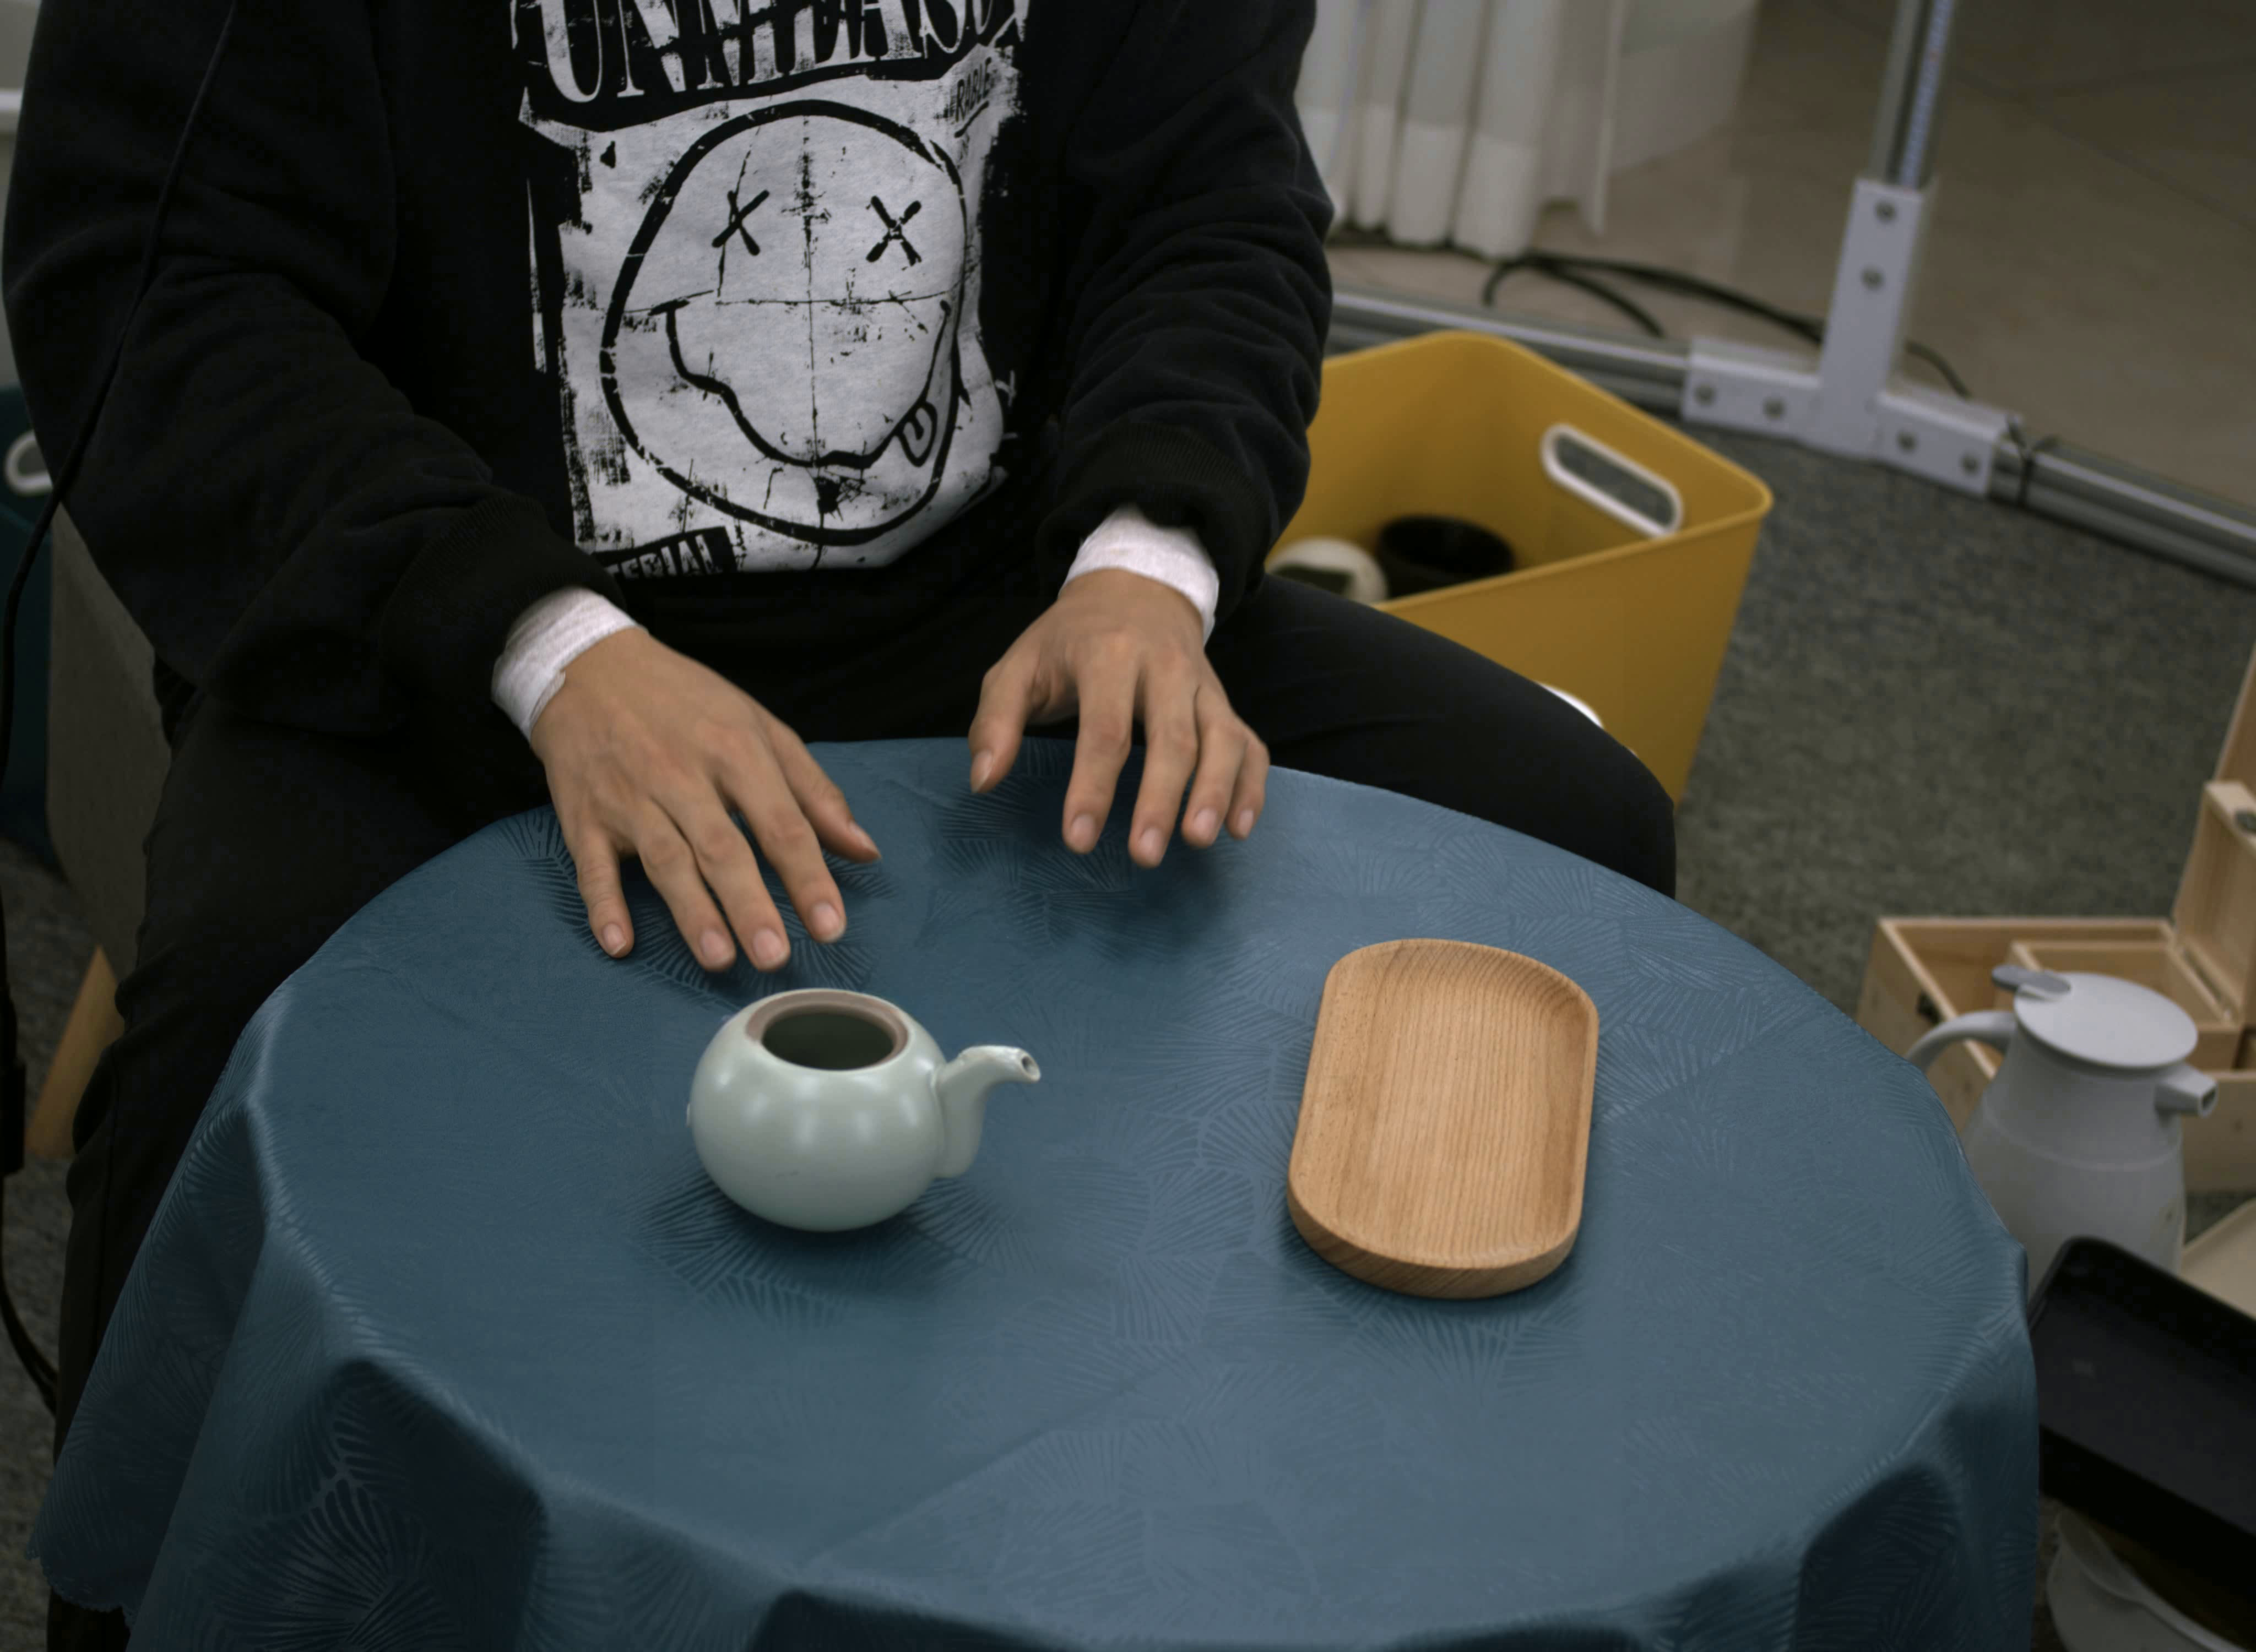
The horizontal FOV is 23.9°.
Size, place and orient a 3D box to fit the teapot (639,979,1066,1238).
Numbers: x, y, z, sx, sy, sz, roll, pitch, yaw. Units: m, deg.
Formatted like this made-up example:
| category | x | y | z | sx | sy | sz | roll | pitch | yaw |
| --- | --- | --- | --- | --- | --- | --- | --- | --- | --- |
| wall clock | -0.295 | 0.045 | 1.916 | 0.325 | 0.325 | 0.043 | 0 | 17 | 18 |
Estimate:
| category | x | y | z | sx | sy | sz | roll | pitch | yaw |
| --- | --- | --- | --- | --- | --- | --- | --- | --- | --- |
| teapot | -0.093 | 0.095 | 1.763 | 0.144 | 0.074 | 0.088 | 11 | 26 | 10 |

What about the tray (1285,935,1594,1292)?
| category | x | y | z | sx | sy | sz | roll | pitch | yaw |
| --- | --- | --- | --- | --- | --- | --- | --- | --- | --- |
| tray | 0.110 | 0.098 | 1.863 | 0.101 | 0.020 | 0.232 | 9 | 25 | 3 |
